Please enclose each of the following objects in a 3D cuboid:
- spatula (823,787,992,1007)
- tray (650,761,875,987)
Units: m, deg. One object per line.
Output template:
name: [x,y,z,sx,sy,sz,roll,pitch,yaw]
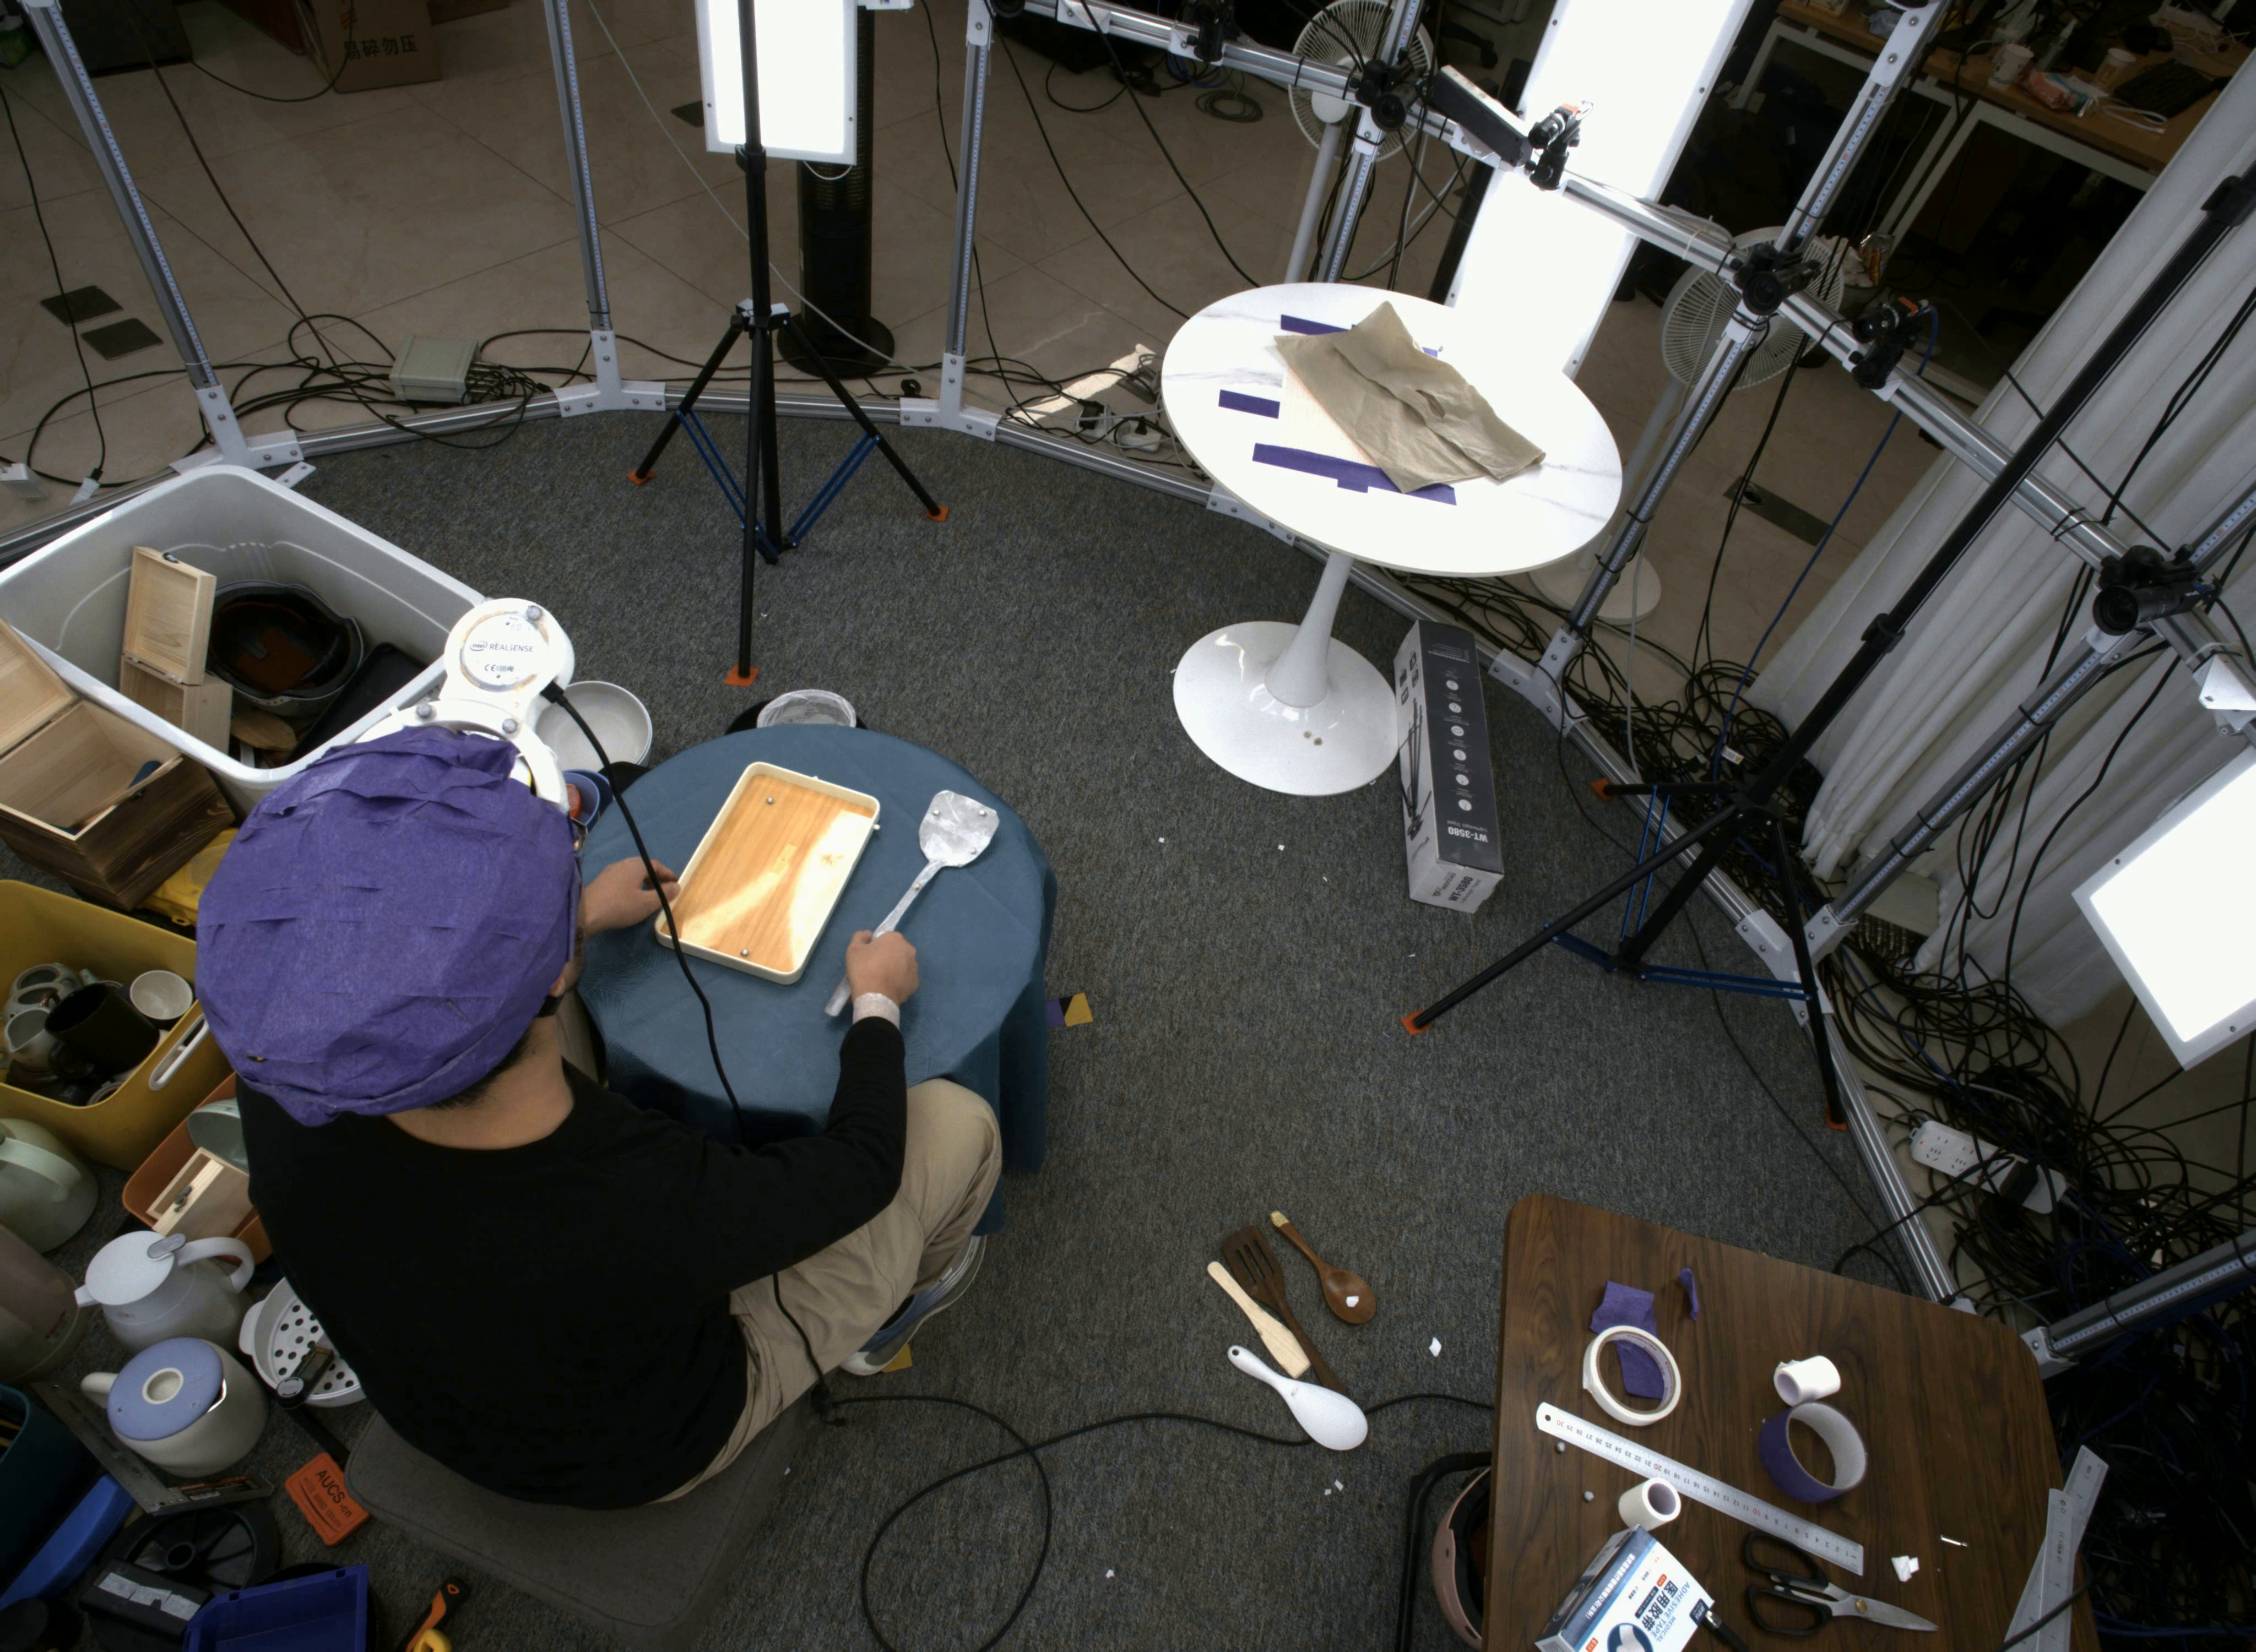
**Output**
spatula: [-0.287,0.087,1.655,0.097,0.045,0.362,25,47,5]
tray: [-0.461,0.053,1.652,0.190,0.028,0.297,18,52,-1]
